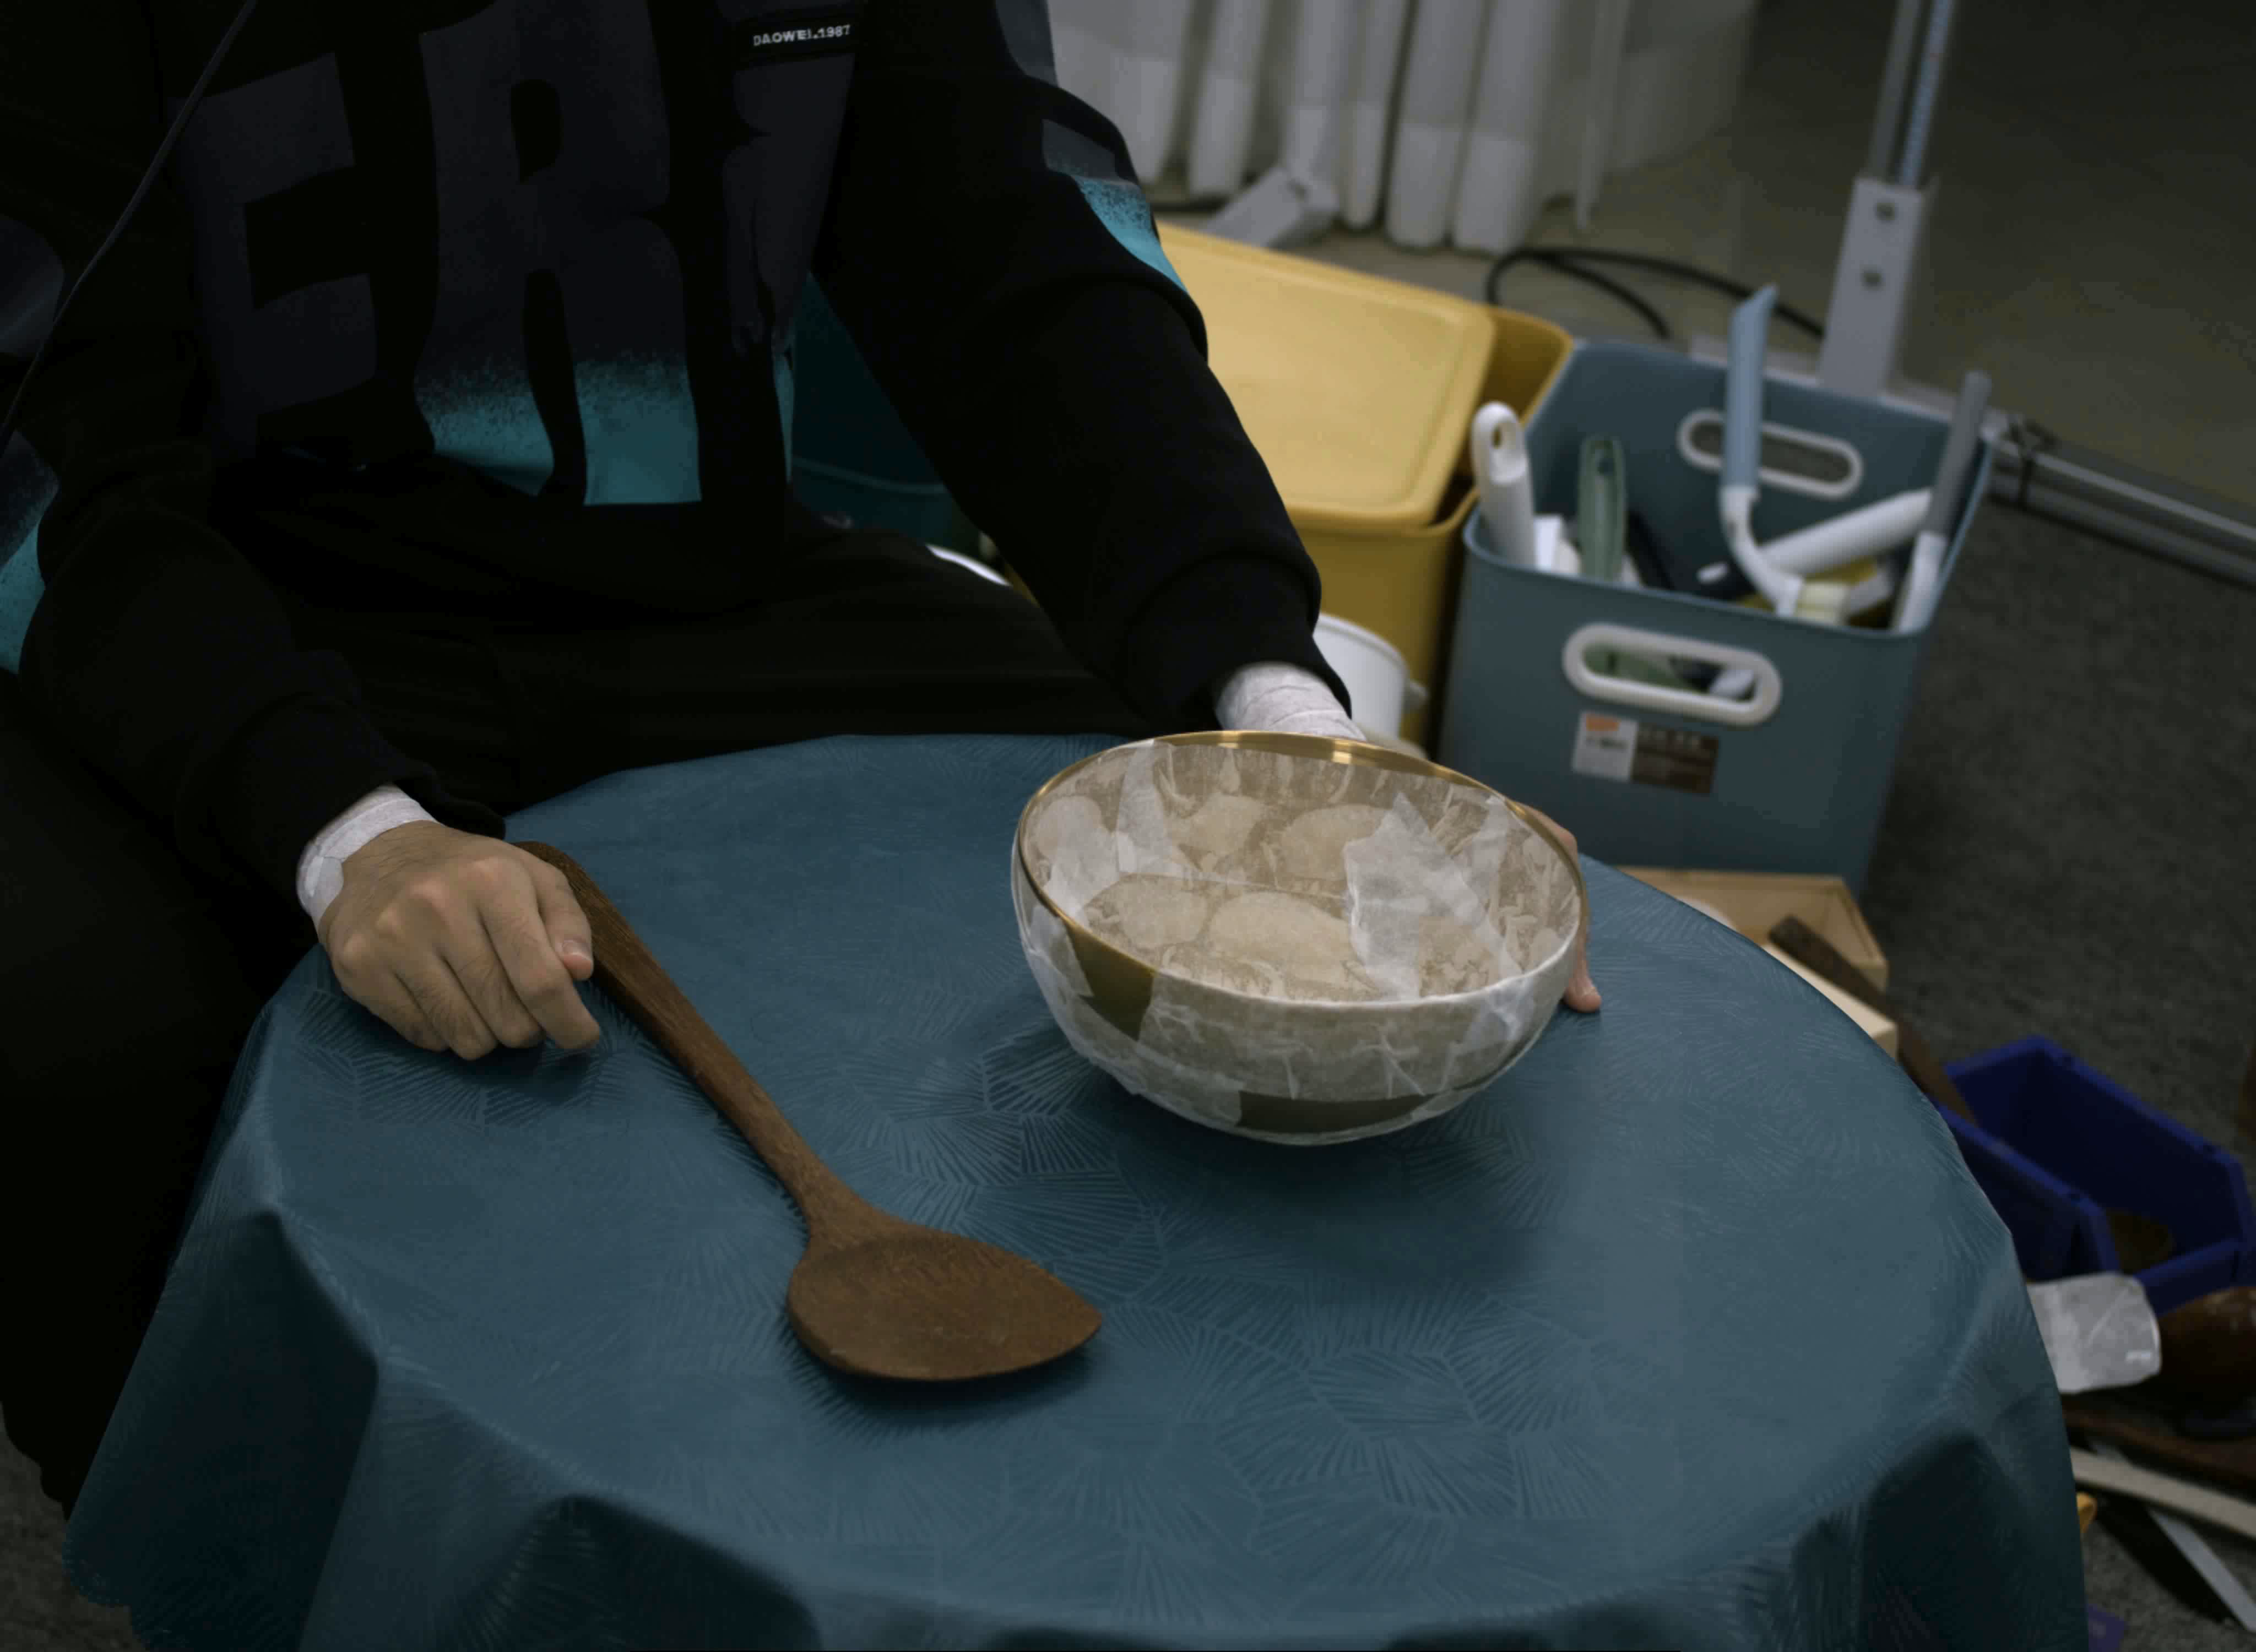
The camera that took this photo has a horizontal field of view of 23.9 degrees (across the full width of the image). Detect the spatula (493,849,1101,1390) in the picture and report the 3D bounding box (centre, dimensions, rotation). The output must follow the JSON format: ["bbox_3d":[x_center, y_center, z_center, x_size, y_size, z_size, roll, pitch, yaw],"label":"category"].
[{"bbox_3d":[-0.134,0.092,1.818,0.095,0.016,0.389,-8,30,-28],"label":"spatula"}]

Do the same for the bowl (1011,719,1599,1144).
[{"bbox_3d":[0.058,0.049,1.856,0.214,0.094,0.216,4,27,-2],"label":"bowl"}]
